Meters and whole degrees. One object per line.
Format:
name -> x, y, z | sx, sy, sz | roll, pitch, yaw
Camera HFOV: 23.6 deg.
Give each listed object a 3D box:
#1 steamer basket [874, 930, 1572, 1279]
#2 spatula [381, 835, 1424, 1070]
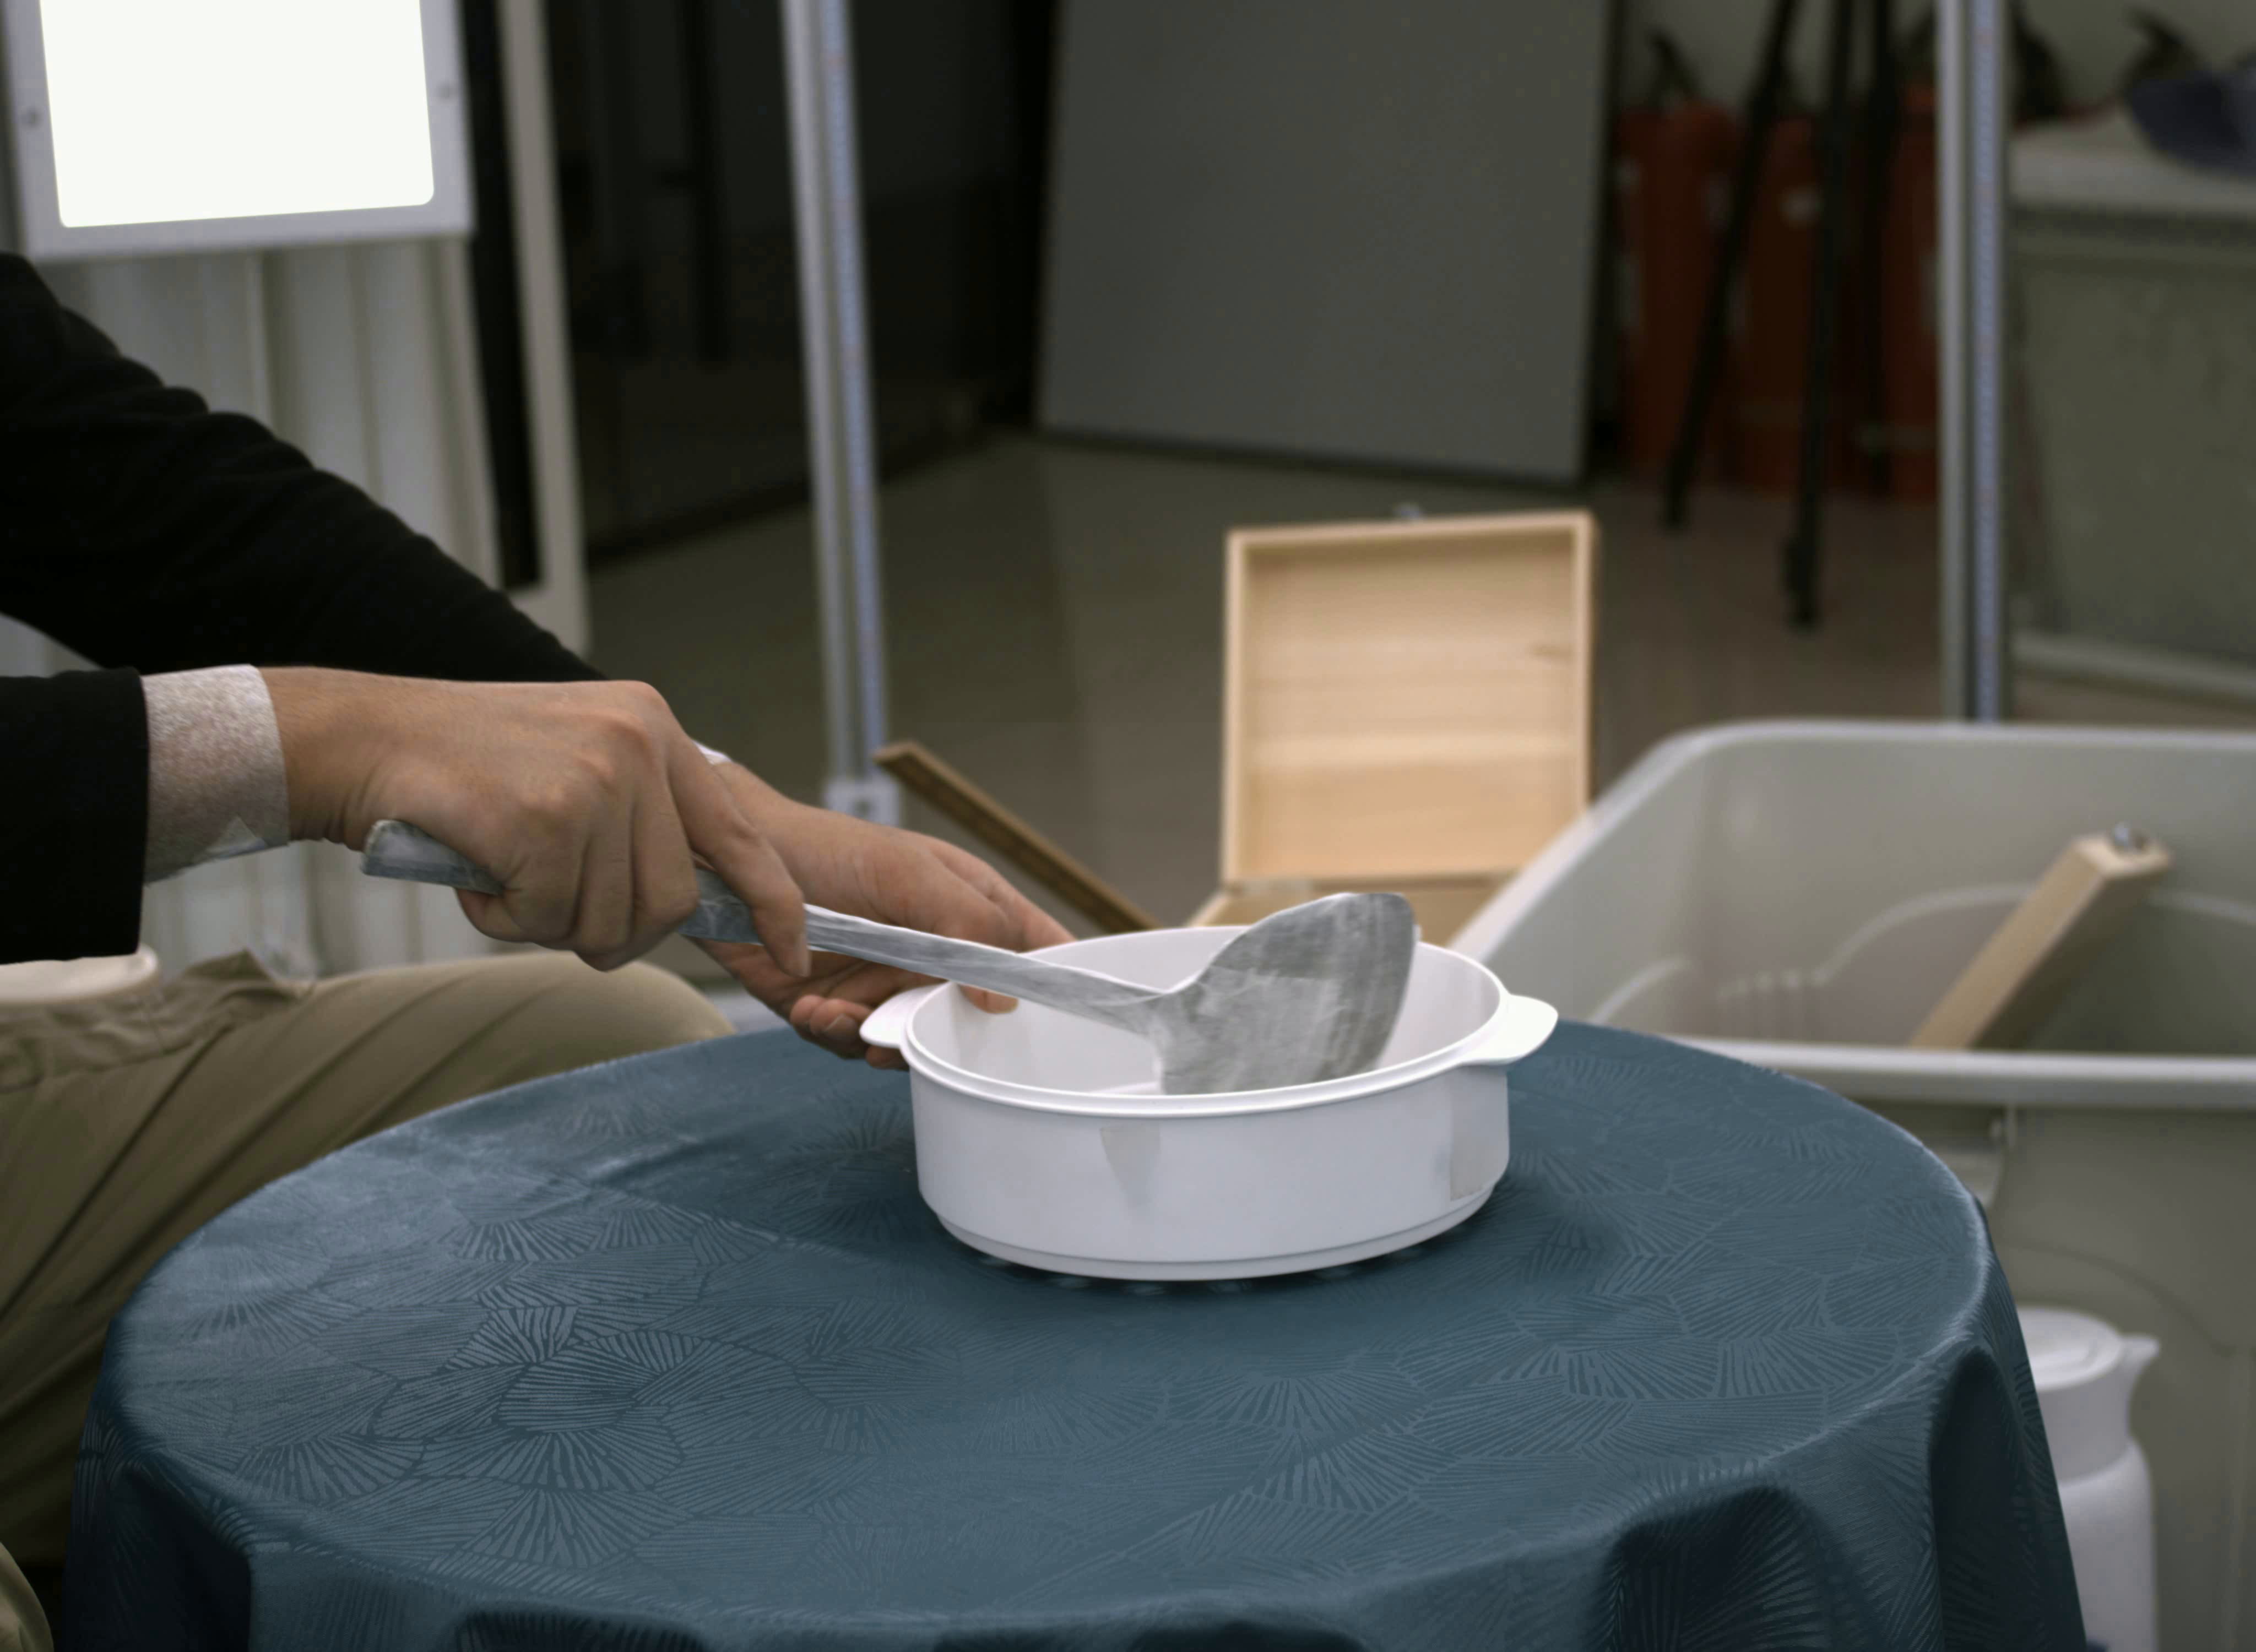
steamer basket -> 0.032, 0.089, 1.743 | 0.230, 0.070, 0.200 | -1, 13, 18
spatula -> -0.063, 0.039, 1.677 | 0.357, 0.100, 0.045 | 13, 18, -23
